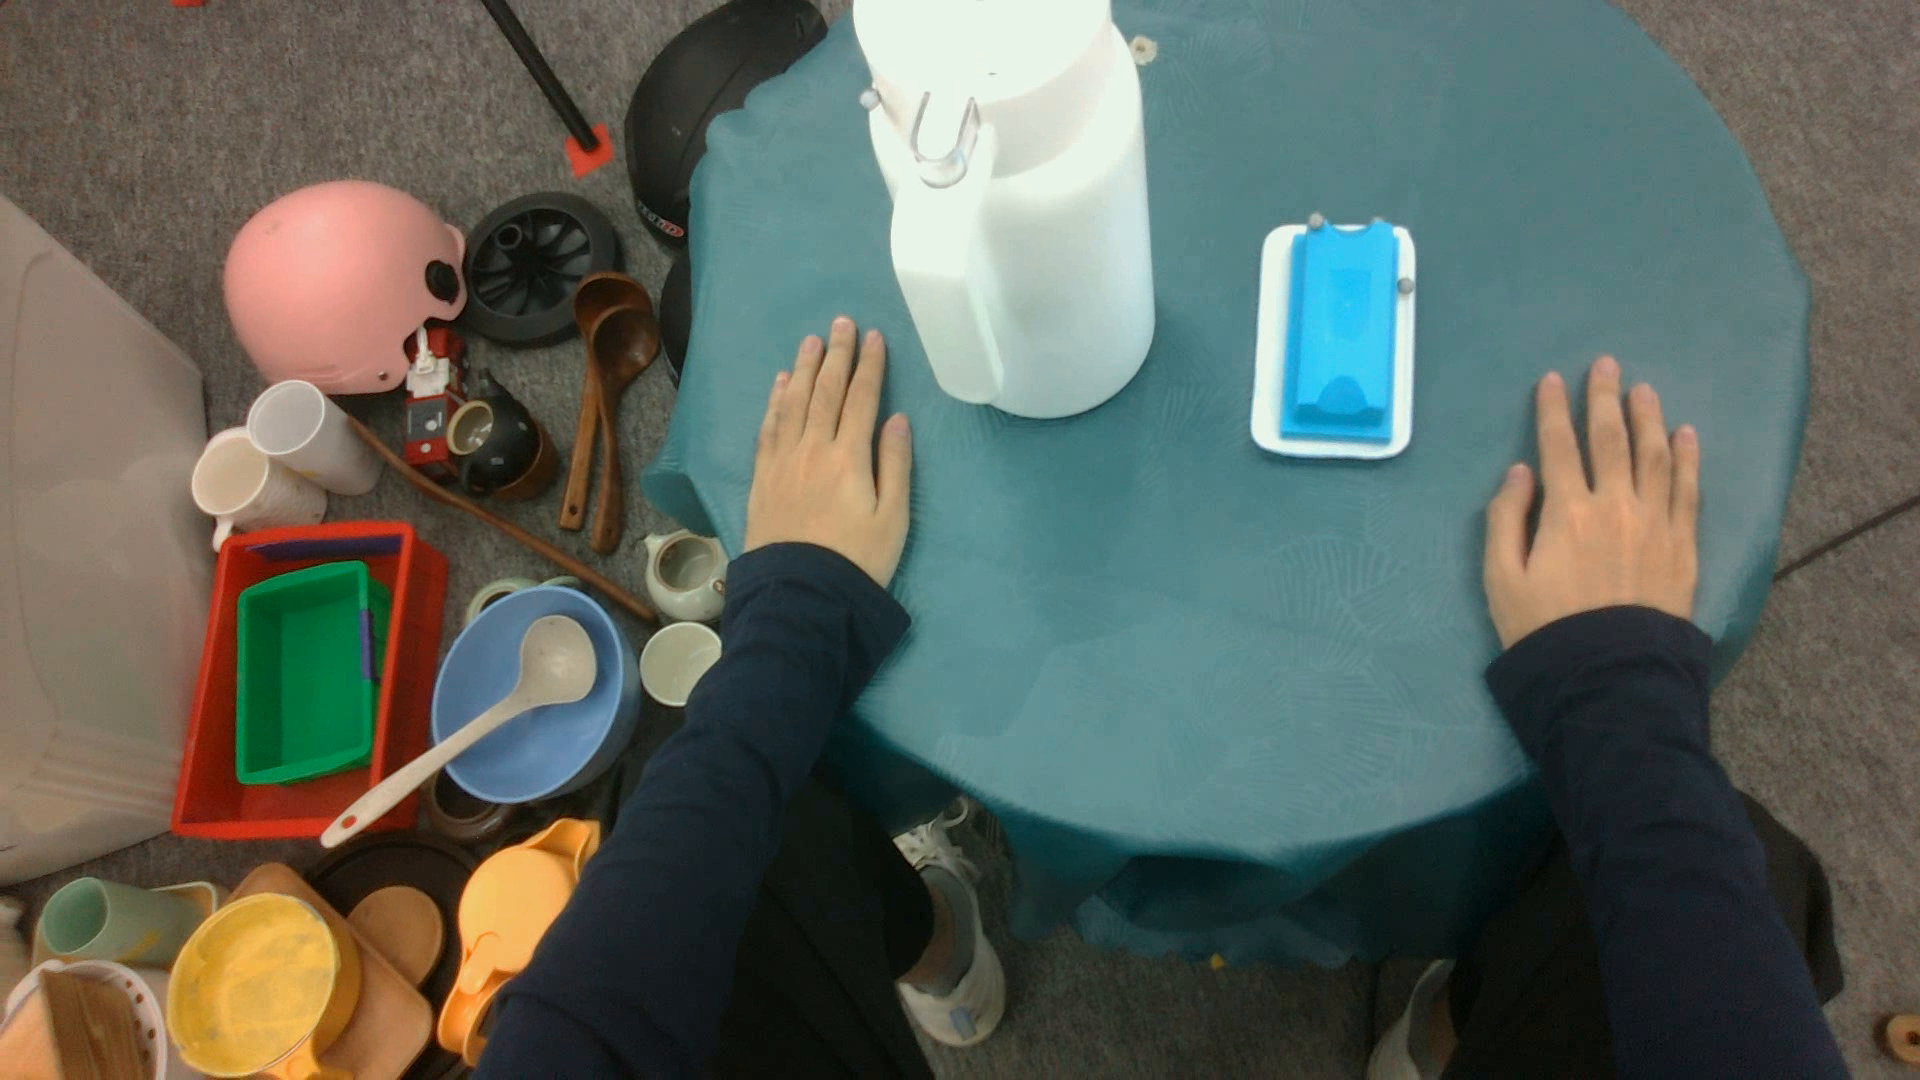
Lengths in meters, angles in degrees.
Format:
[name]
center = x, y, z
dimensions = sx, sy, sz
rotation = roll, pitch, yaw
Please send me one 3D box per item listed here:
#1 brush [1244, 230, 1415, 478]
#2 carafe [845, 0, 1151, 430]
[brush]
center = 0.196, -0.104, 0.724
dimensions = 0.084, 0.056, 0.144
rotation = 5, 67, 14
[carafe]
center = 0.025, -0.142, 0.658
dimensions = 0.124, 0.268, 0.173
rotation = 9, 72, 11
